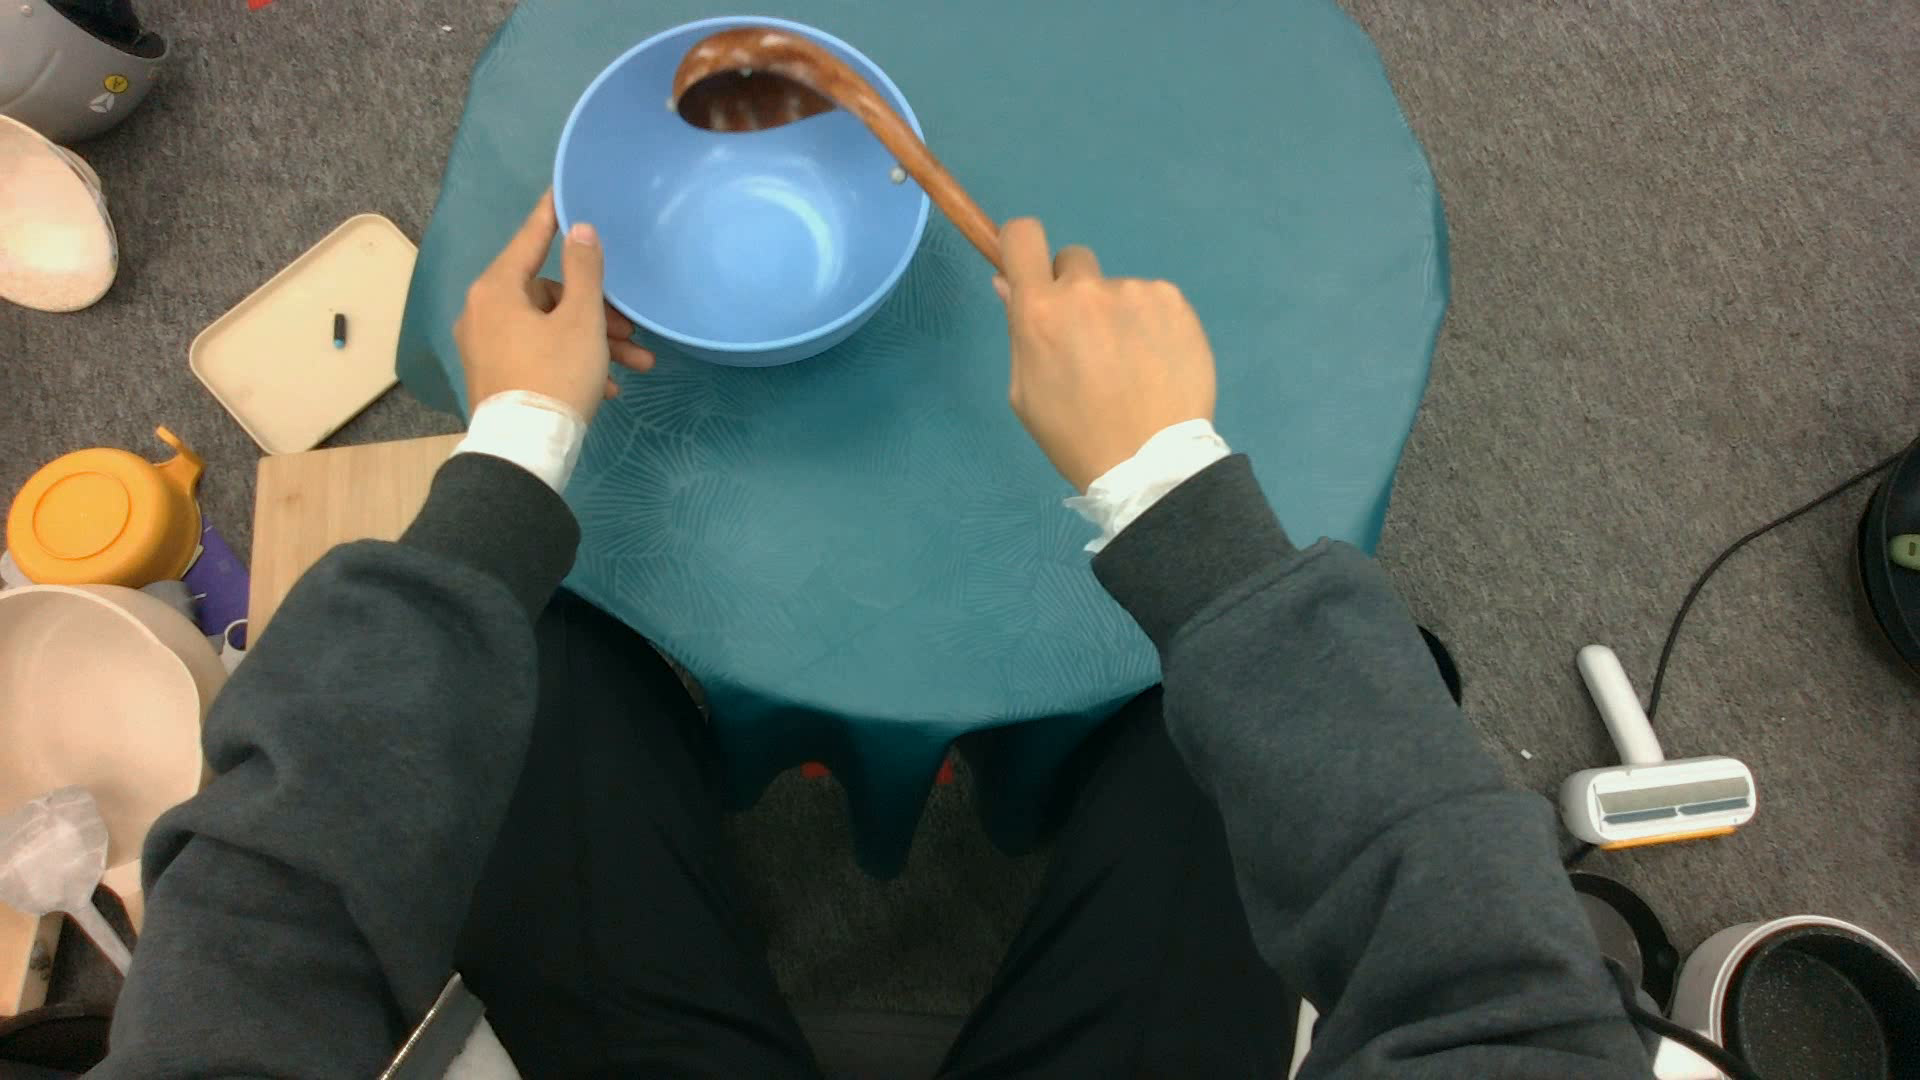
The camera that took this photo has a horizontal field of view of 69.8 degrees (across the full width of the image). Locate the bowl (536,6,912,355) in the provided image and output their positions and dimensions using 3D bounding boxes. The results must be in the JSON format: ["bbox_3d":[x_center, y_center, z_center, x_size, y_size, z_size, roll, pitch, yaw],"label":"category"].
[{"bbox_3d":[-0.126,-0.185,0.768,0.196,0.095,0.197,1,75,-4],"label":"bowl"}]

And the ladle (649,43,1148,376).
[{"bbox_3d":[-0.037,-0.146,0.654,0.274,0.082,0.076,44,106,12],"label":"ladle"}]
